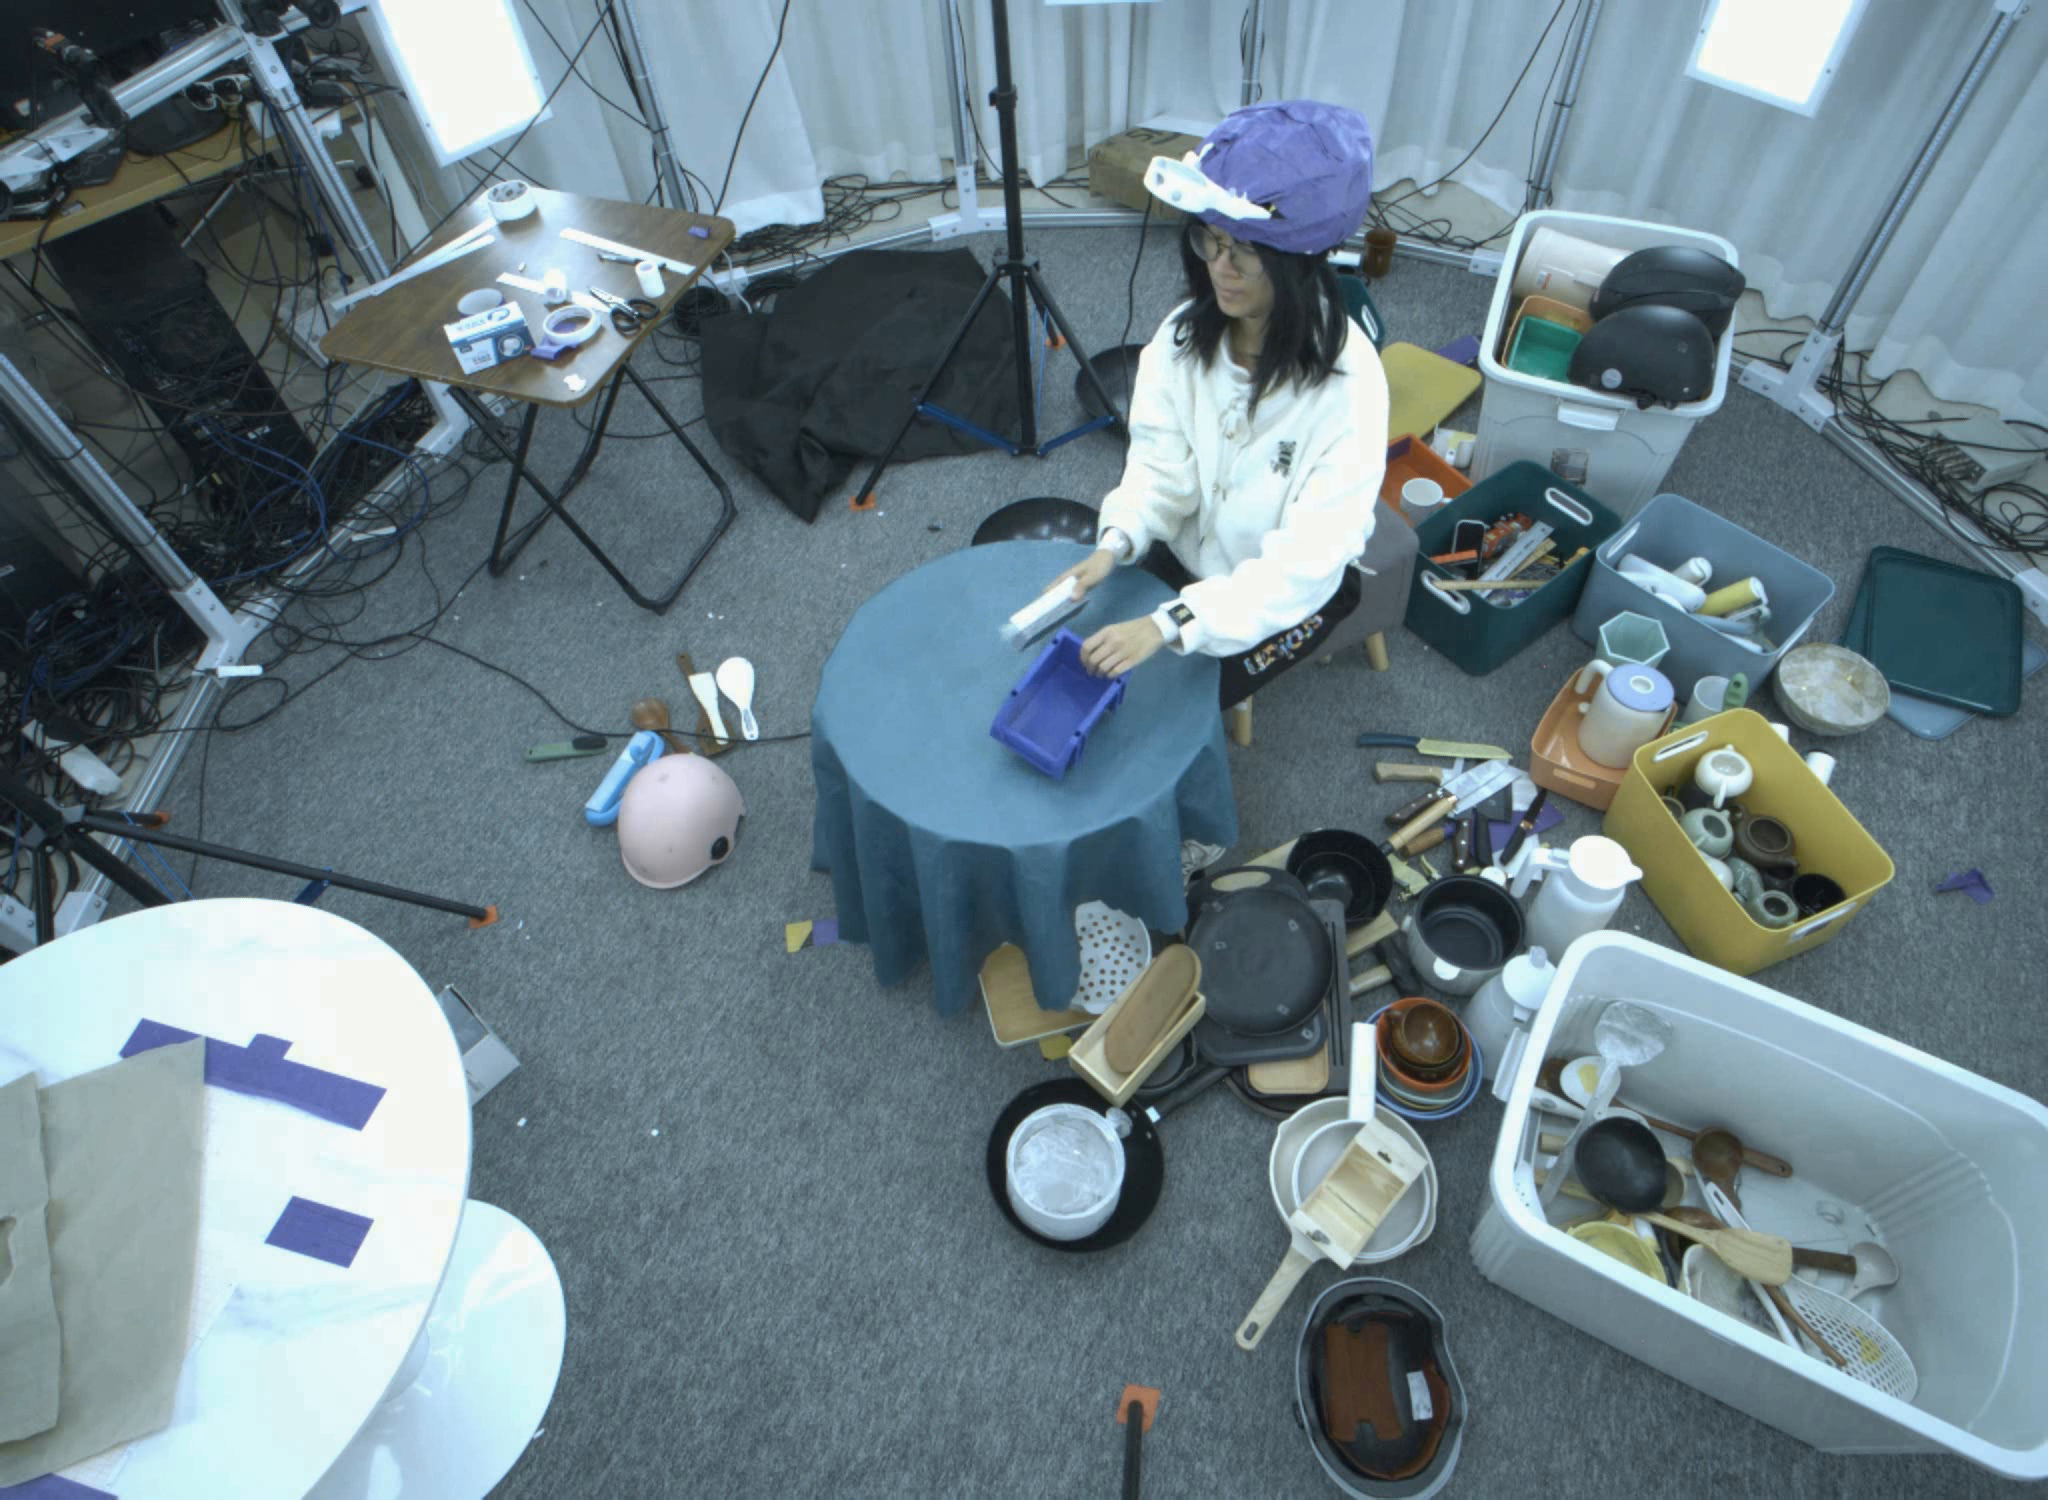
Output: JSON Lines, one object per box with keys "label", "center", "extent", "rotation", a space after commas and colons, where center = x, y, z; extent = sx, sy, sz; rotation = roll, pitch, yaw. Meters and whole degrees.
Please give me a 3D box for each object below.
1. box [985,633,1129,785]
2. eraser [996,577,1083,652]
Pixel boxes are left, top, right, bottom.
{"label": "box", "center": [0.048, -0.054, 1.750], "extent": [0.123, 0.082, 0.180], "rotation": [34, 64, 10]}
{"label": "eraser", "center": [0.025, -0.201, 1.820], "extent": [0.135, 0.049, 0.046], "rotation": [-39, 88, -32]}
